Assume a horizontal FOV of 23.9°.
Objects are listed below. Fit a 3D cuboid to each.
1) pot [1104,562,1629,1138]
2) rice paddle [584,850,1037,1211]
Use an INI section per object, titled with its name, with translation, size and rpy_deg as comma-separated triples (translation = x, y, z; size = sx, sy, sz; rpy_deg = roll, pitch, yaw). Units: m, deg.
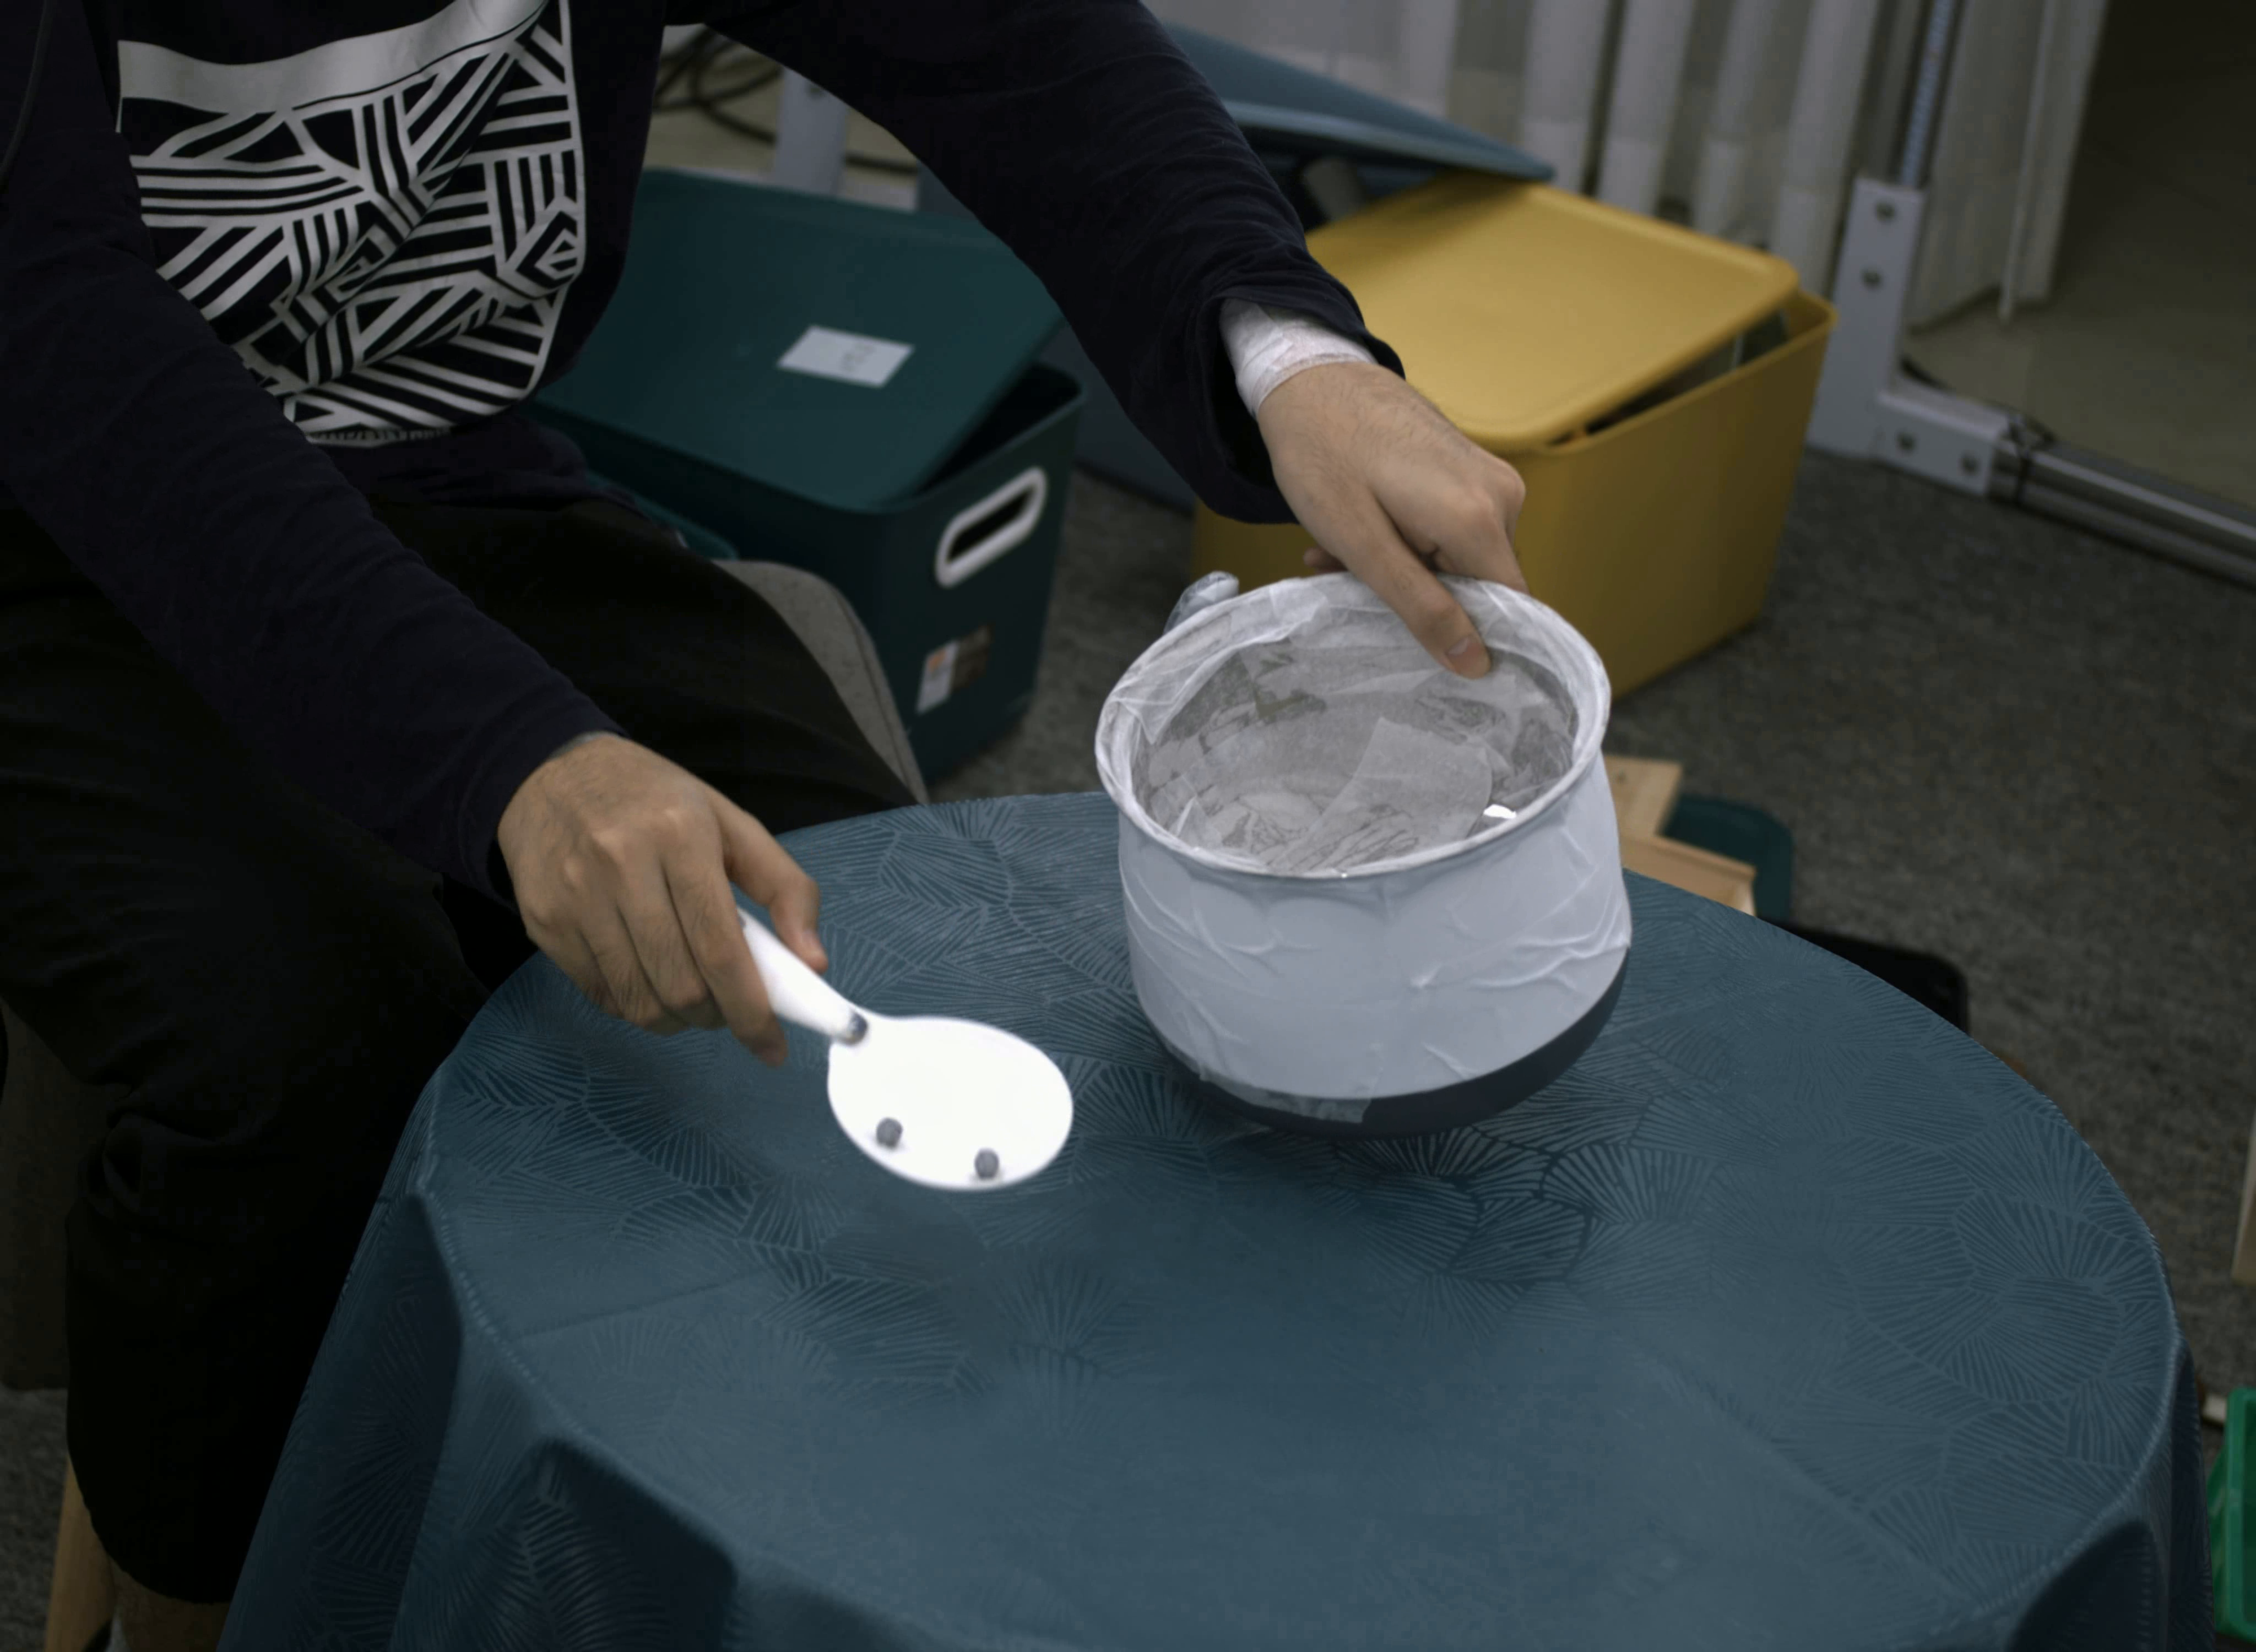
[pot]
translation = 0.071, -0.002, 1.870
size = 0.178, 0.136, 0.236
rpy_deg = -22, 38, -20
[rice paddle]
translation = -0.107, 0.068, 1.768
size = 0.068, 0.029, 0.207
rpy_deg = -29, 47, -31
